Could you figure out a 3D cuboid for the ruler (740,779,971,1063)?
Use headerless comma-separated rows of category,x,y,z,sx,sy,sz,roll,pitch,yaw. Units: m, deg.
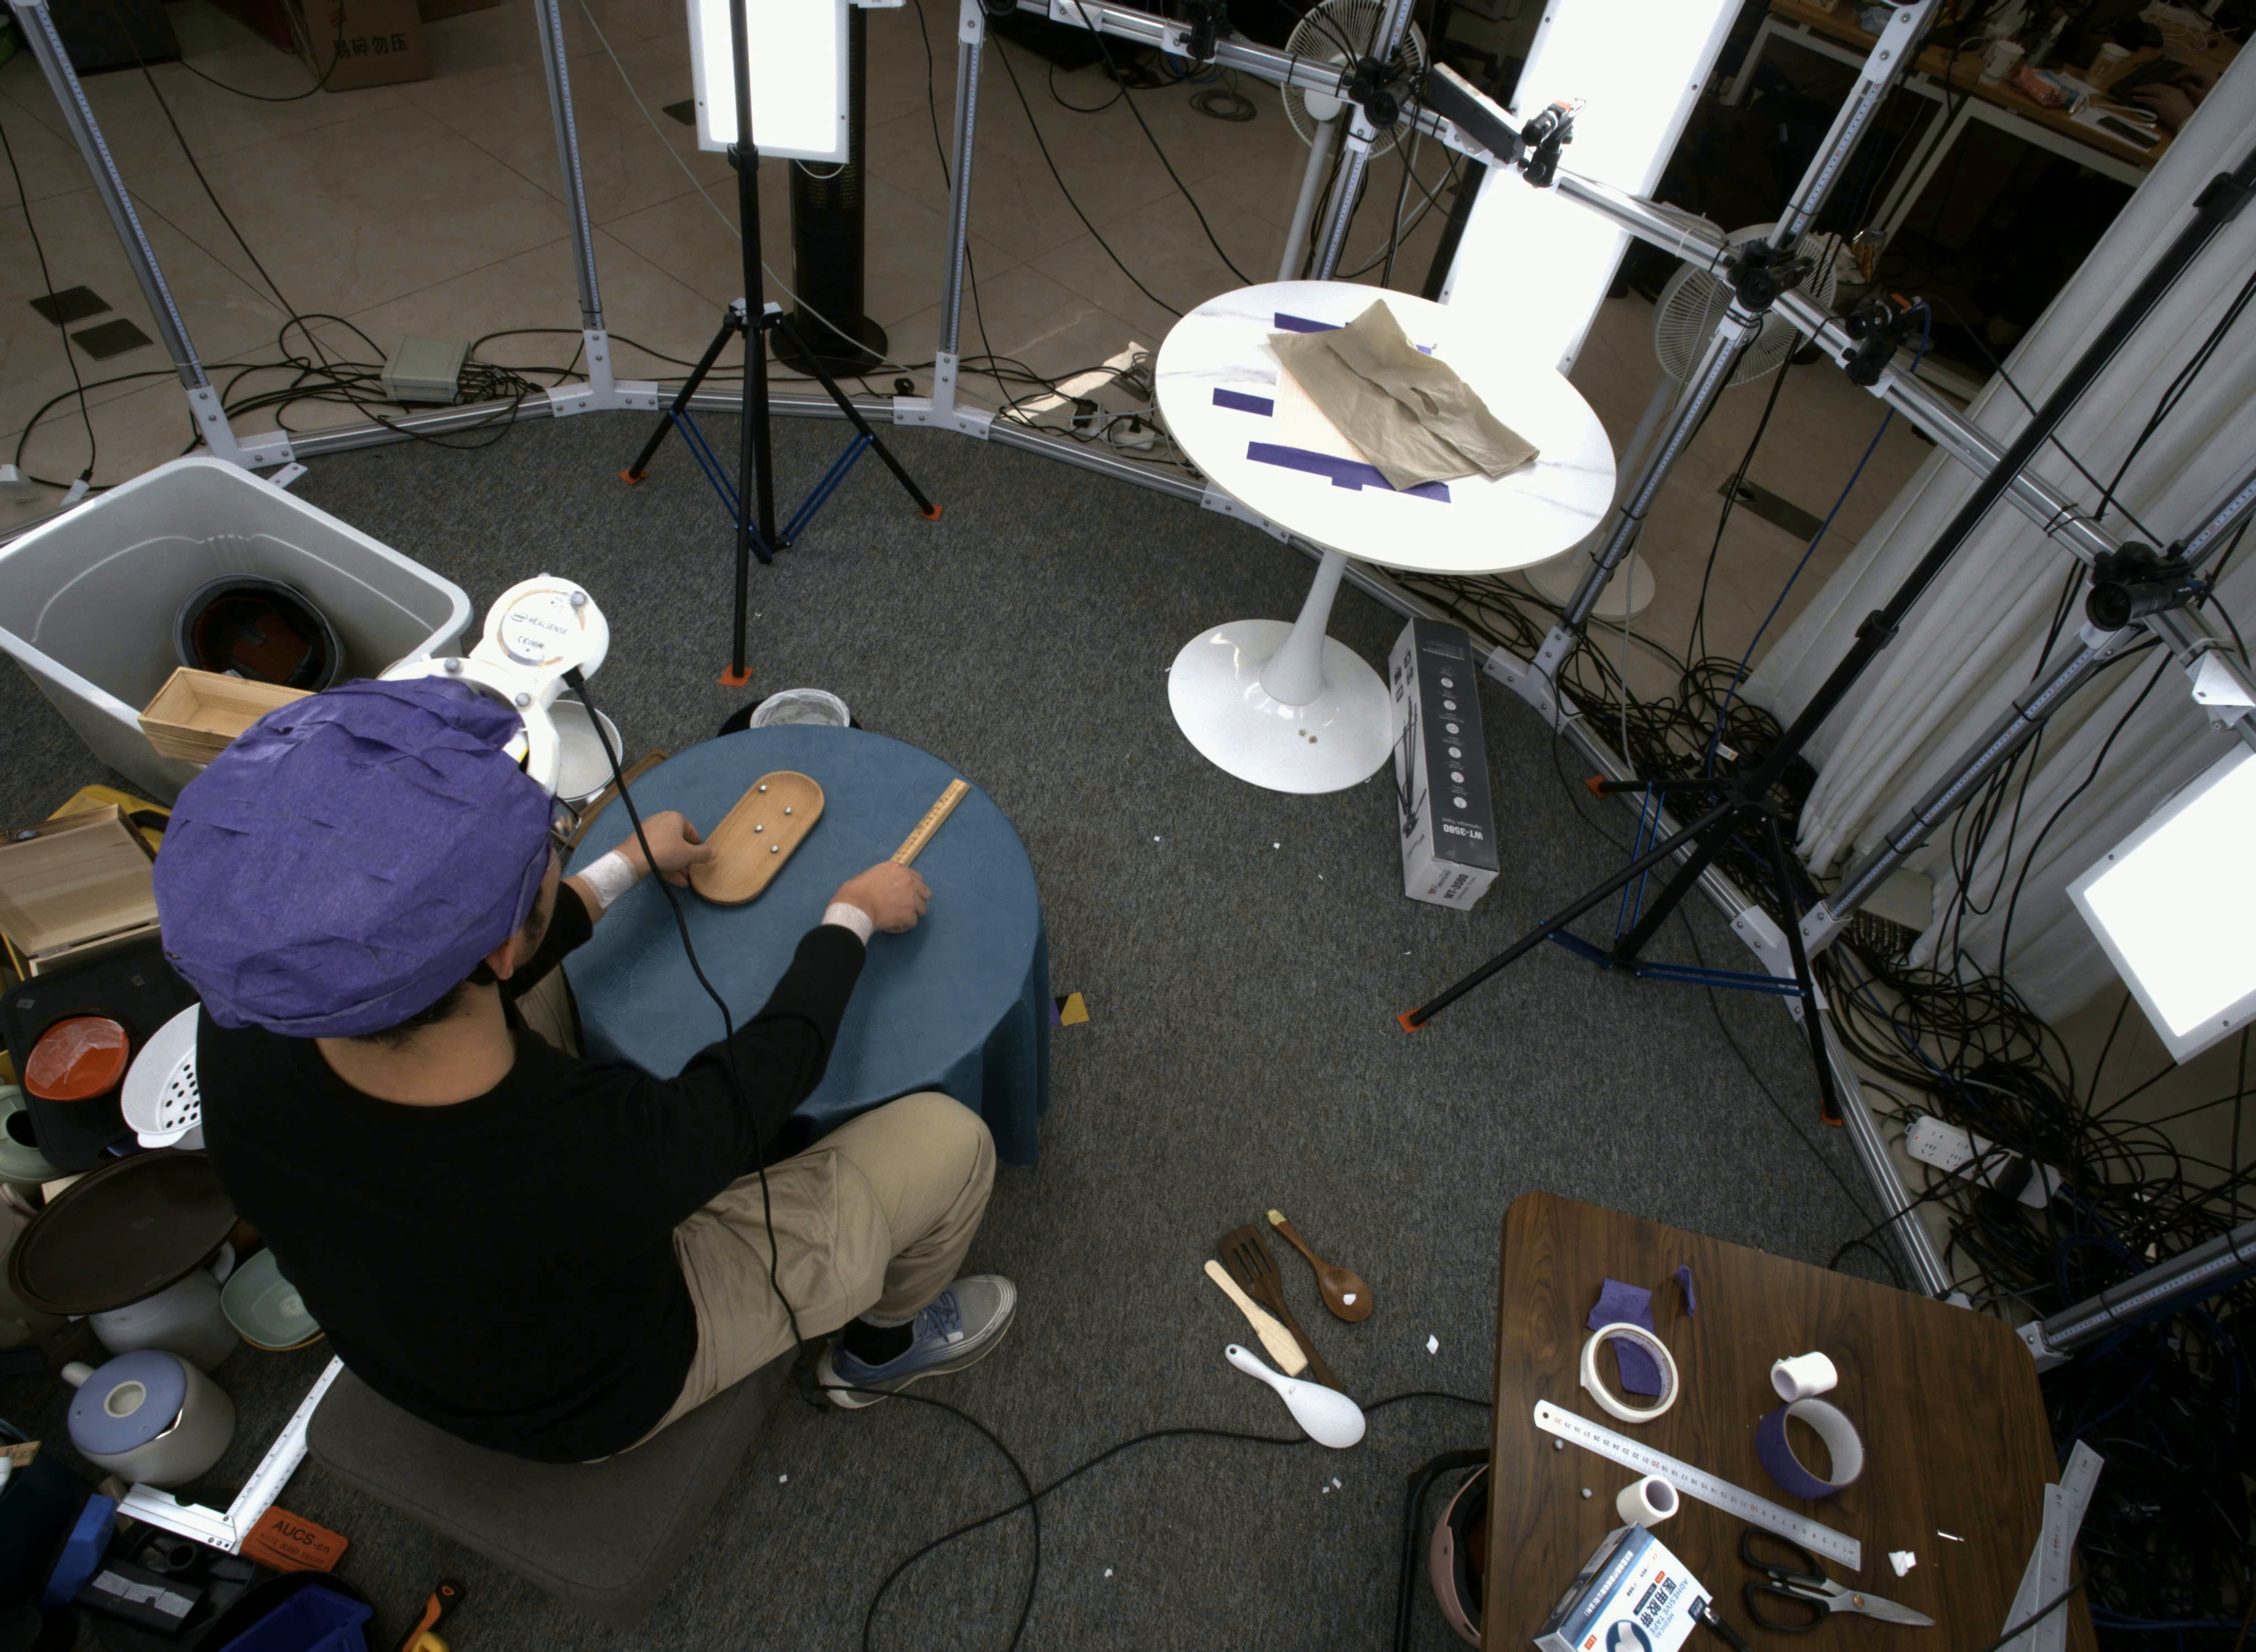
ruler,-0.338,0.103,1.661,0.026,0.006,0.498,26,52,9

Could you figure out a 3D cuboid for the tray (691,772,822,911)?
tray,-0.480,0.017,1.681,0.100,0.021,0.229,22,53,4
